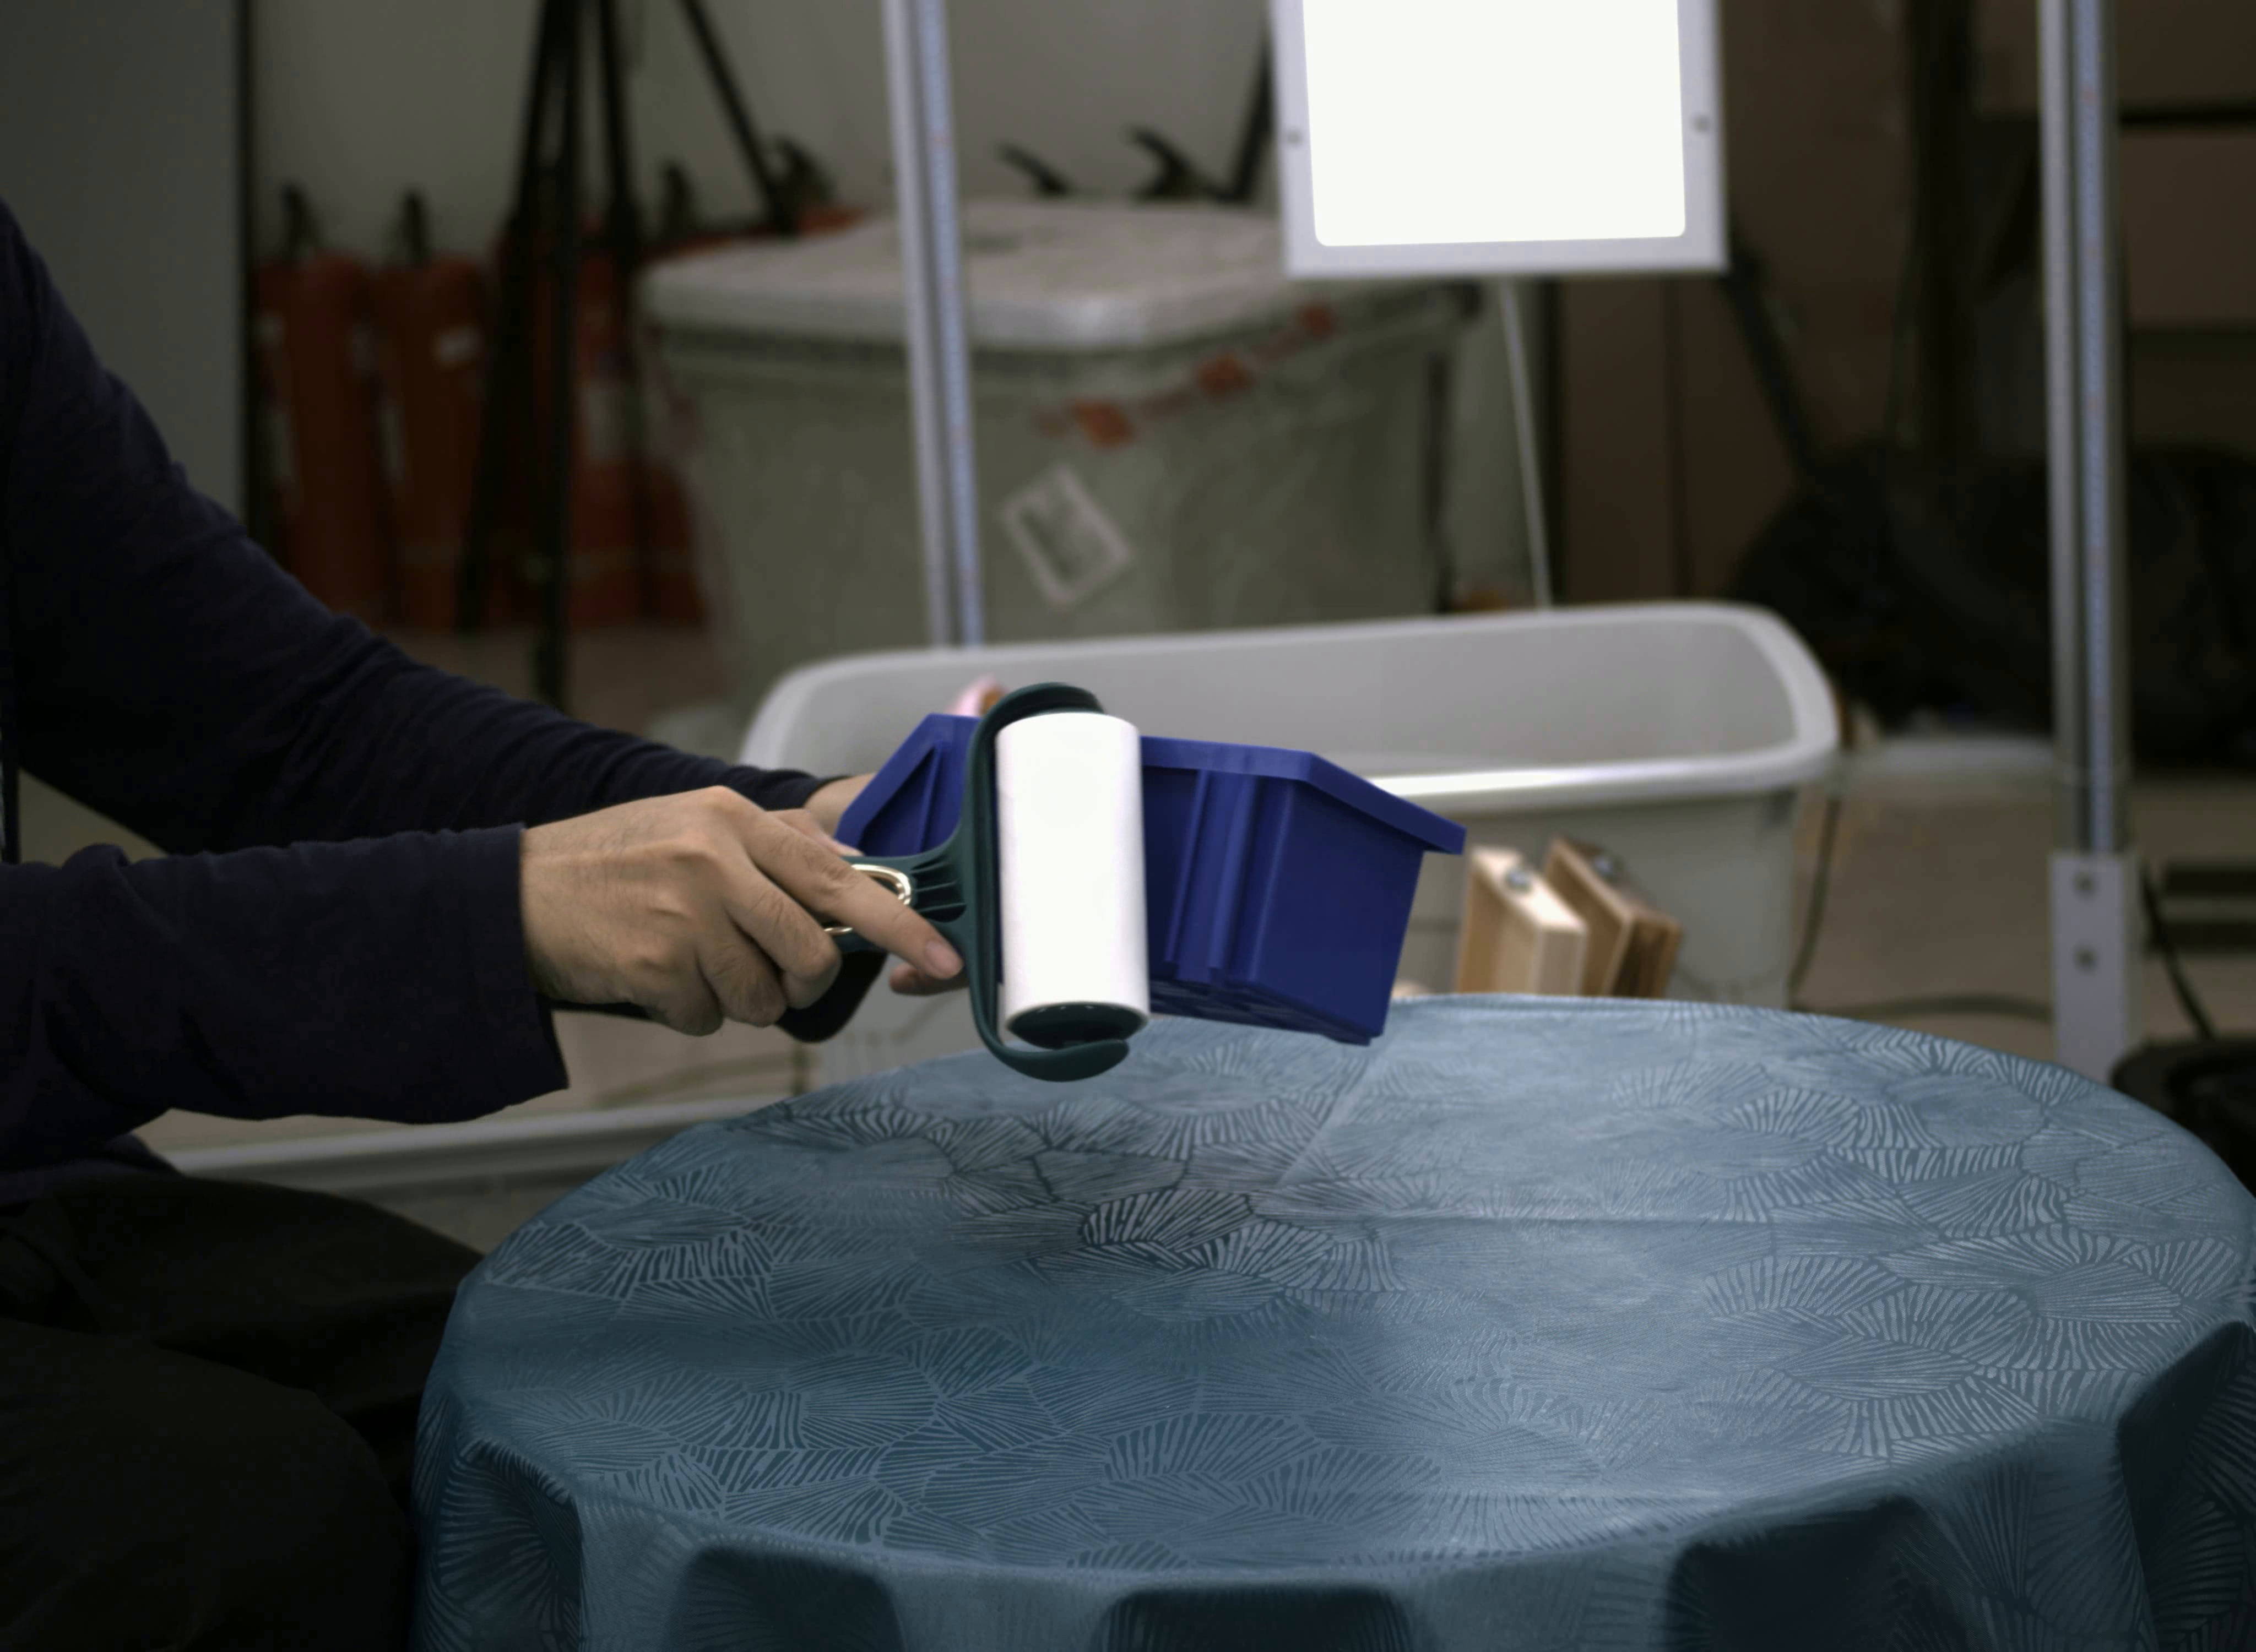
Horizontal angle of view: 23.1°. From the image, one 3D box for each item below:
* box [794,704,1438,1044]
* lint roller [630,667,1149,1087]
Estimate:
[{"bbox_3d":[-0.007,0.015,1.879,0.183,0.082,0.122,10,-6,34],"label":"box"},{"bbox_3d":[-0.083,0.025,1.805,0.181,0.134,0.048,-6,-19,13],"label":"lint roller"}]
